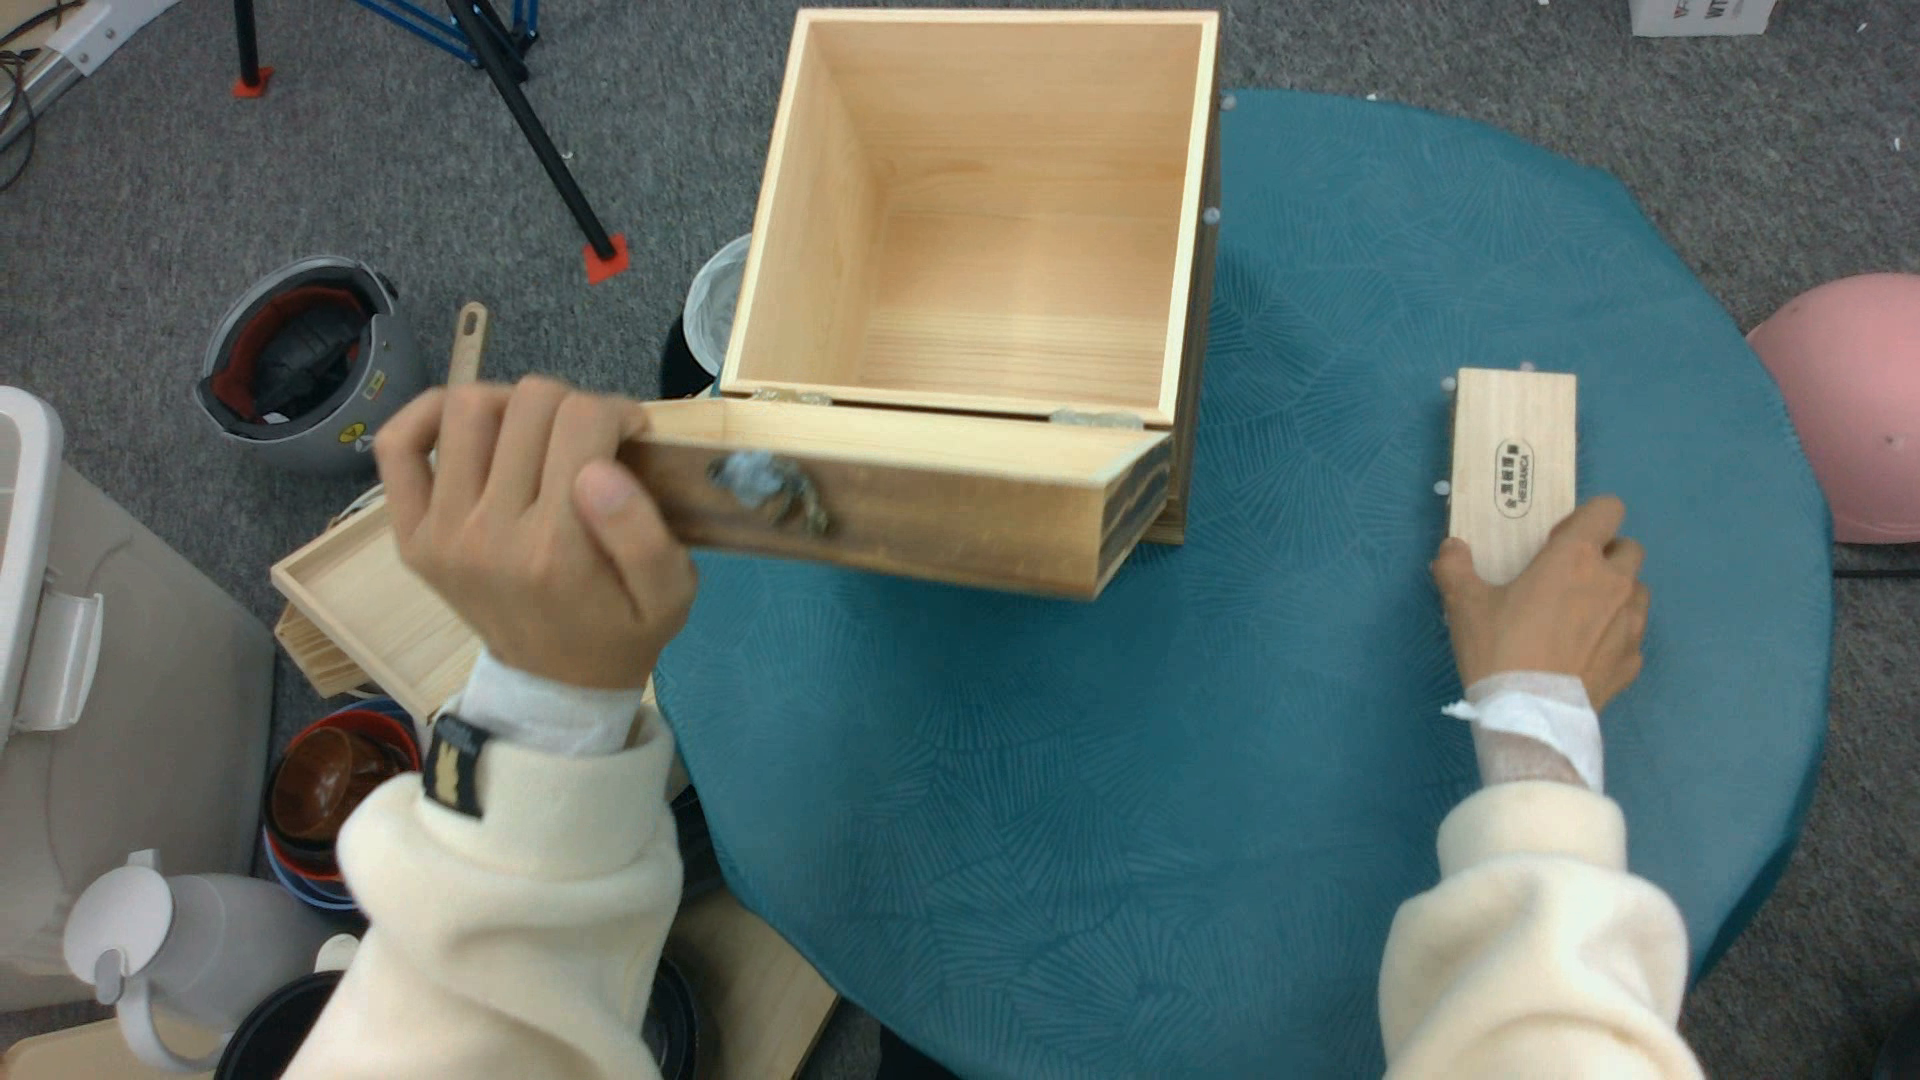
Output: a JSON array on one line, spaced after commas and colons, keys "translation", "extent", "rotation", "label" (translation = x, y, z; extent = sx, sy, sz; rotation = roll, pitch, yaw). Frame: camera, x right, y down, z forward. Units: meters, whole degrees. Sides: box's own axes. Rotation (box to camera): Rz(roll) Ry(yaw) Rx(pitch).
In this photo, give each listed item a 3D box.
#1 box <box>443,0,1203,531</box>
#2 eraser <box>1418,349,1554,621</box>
[{"translation": [-0.010, -0.113, 0.585], "extent": [0.208, 0.374, 0.323], "rotation": [5, 74, 11], "label": "box"}, {"translation": [0.263, -0.029, 0.691], "extent": [0.057, 0.029, 0.140], "rotation": [8, 66, 13], "label": "eraser"}]
